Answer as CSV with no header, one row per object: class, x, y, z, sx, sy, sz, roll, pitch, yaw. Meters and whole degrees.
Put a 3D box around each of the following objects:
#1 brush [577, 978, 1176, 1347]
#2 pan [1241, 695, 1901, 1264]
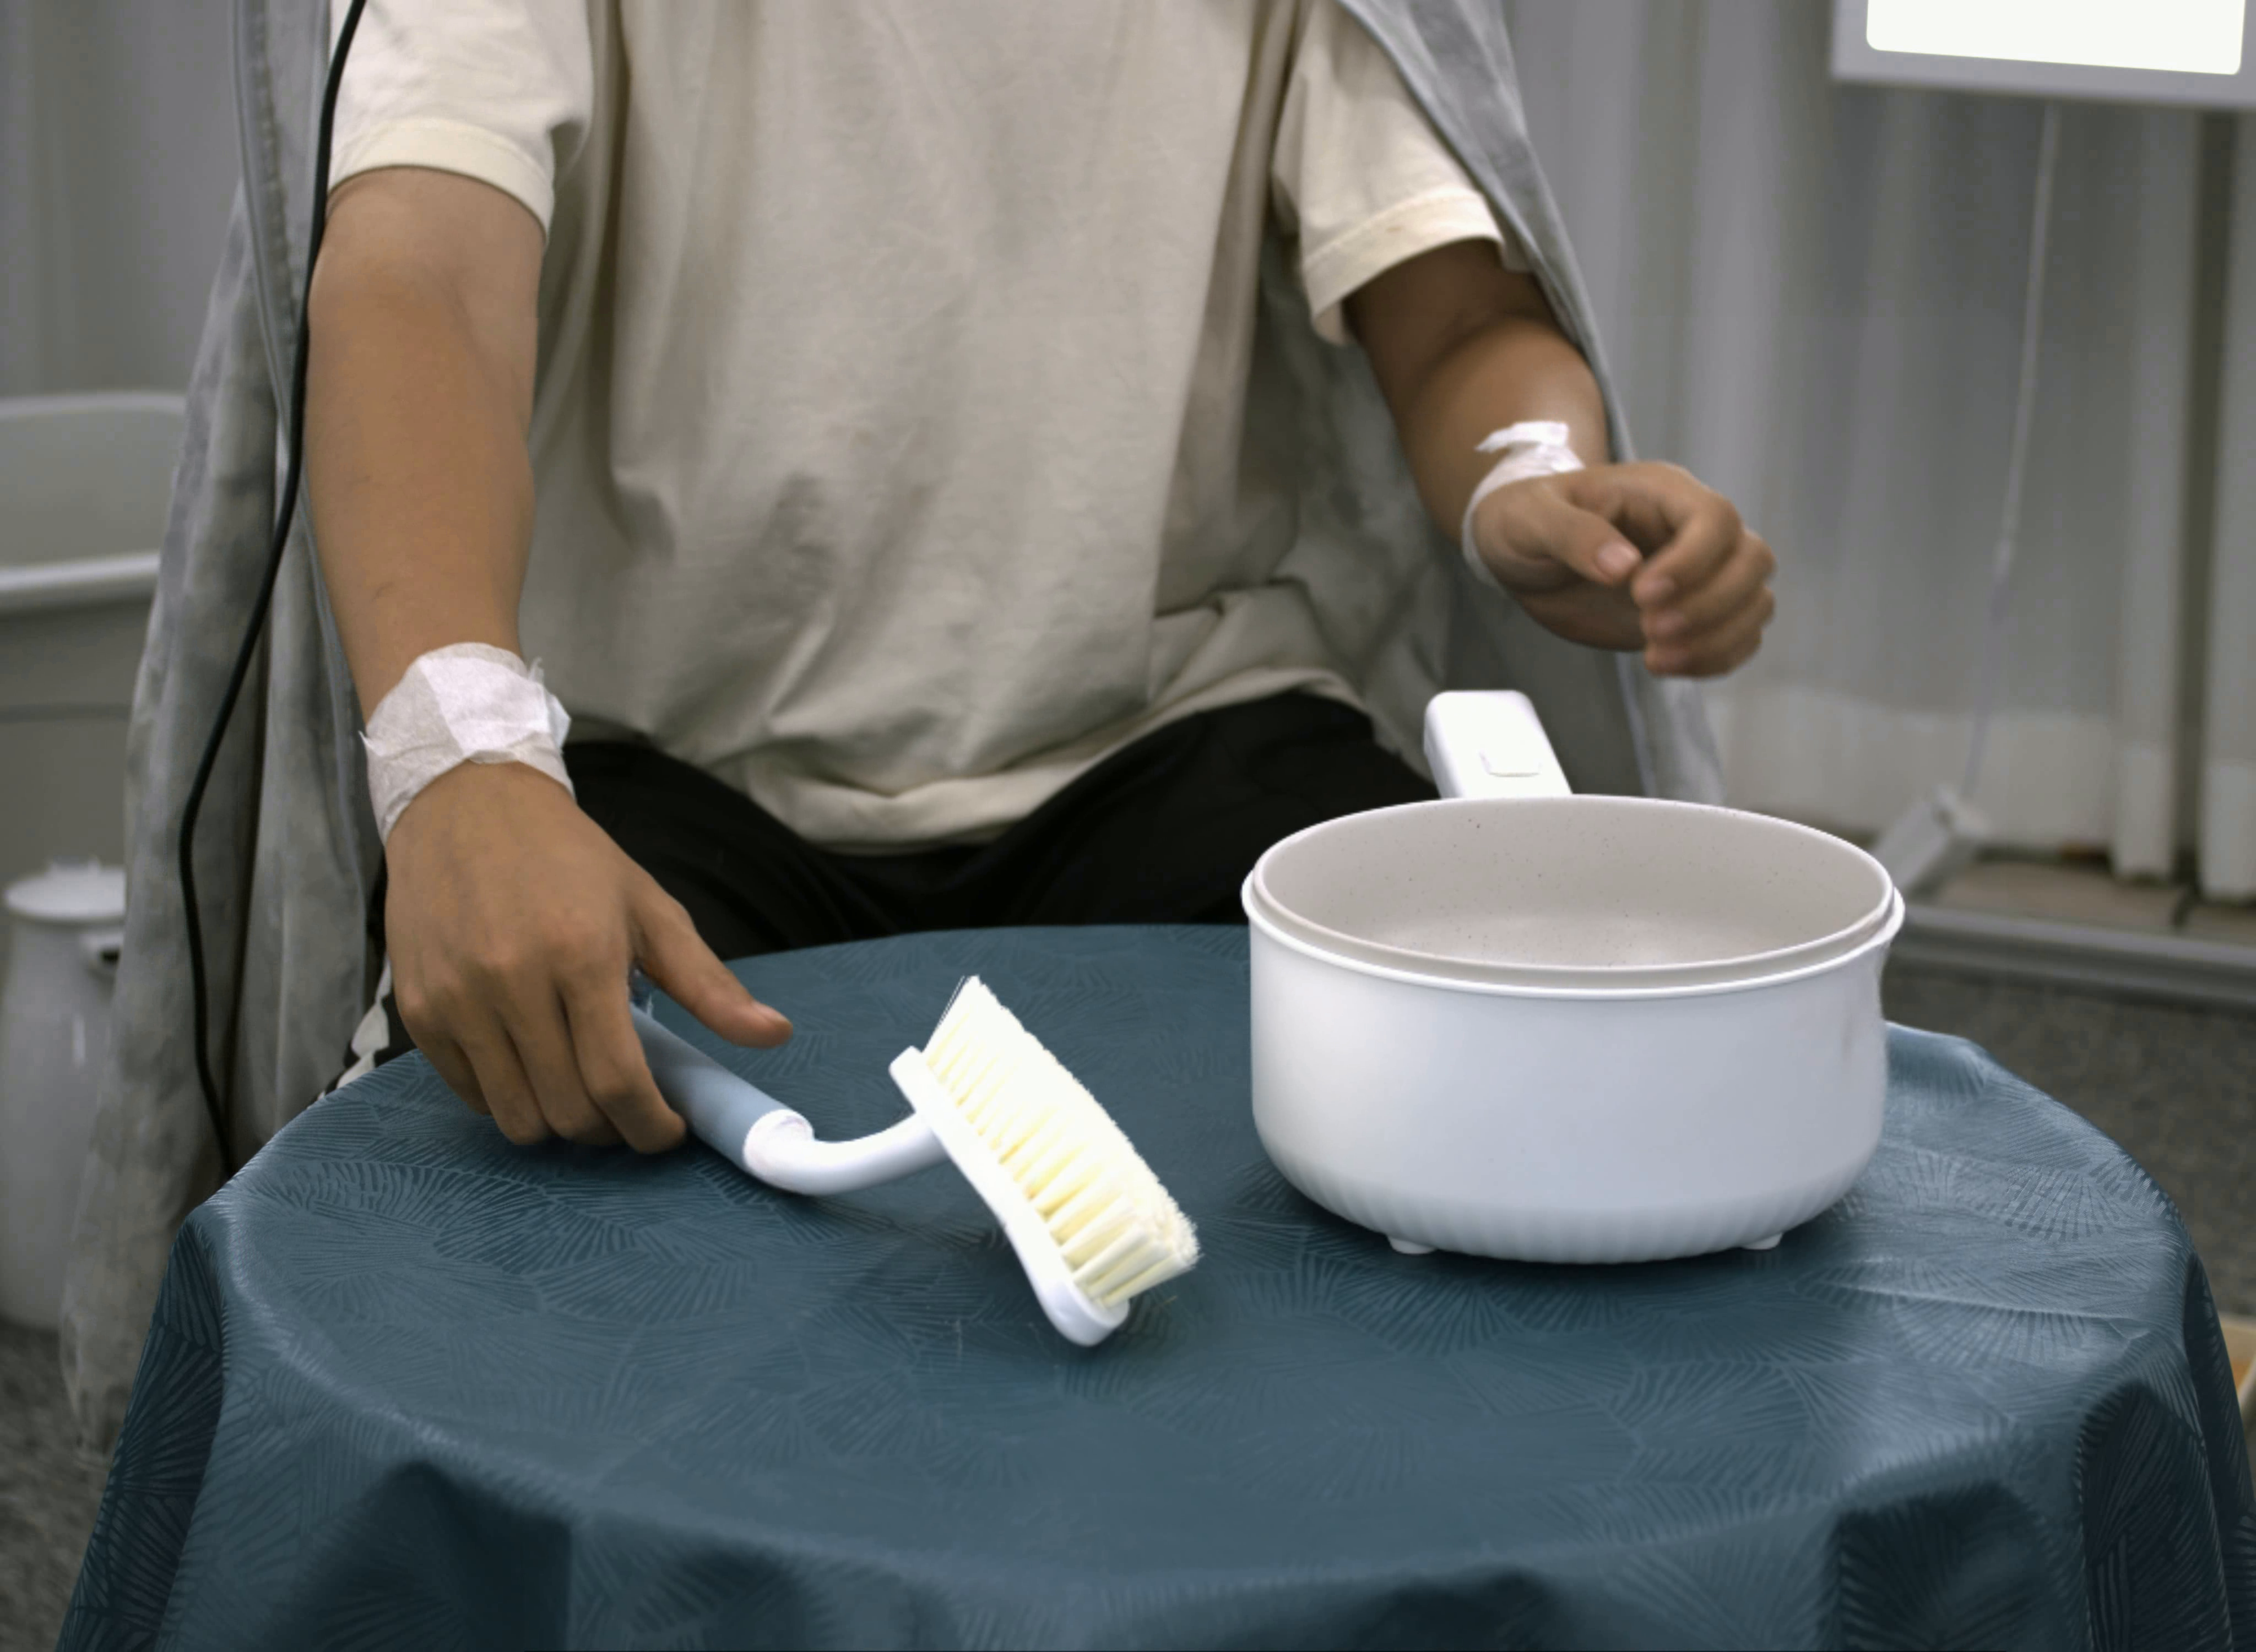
brush,-0.075,0.073,1.613,0.085,0.084,0.321,-13,21,-27
pan,0.131,0.044,1.690,0.201,0.103,0.352,-1,15,-3
